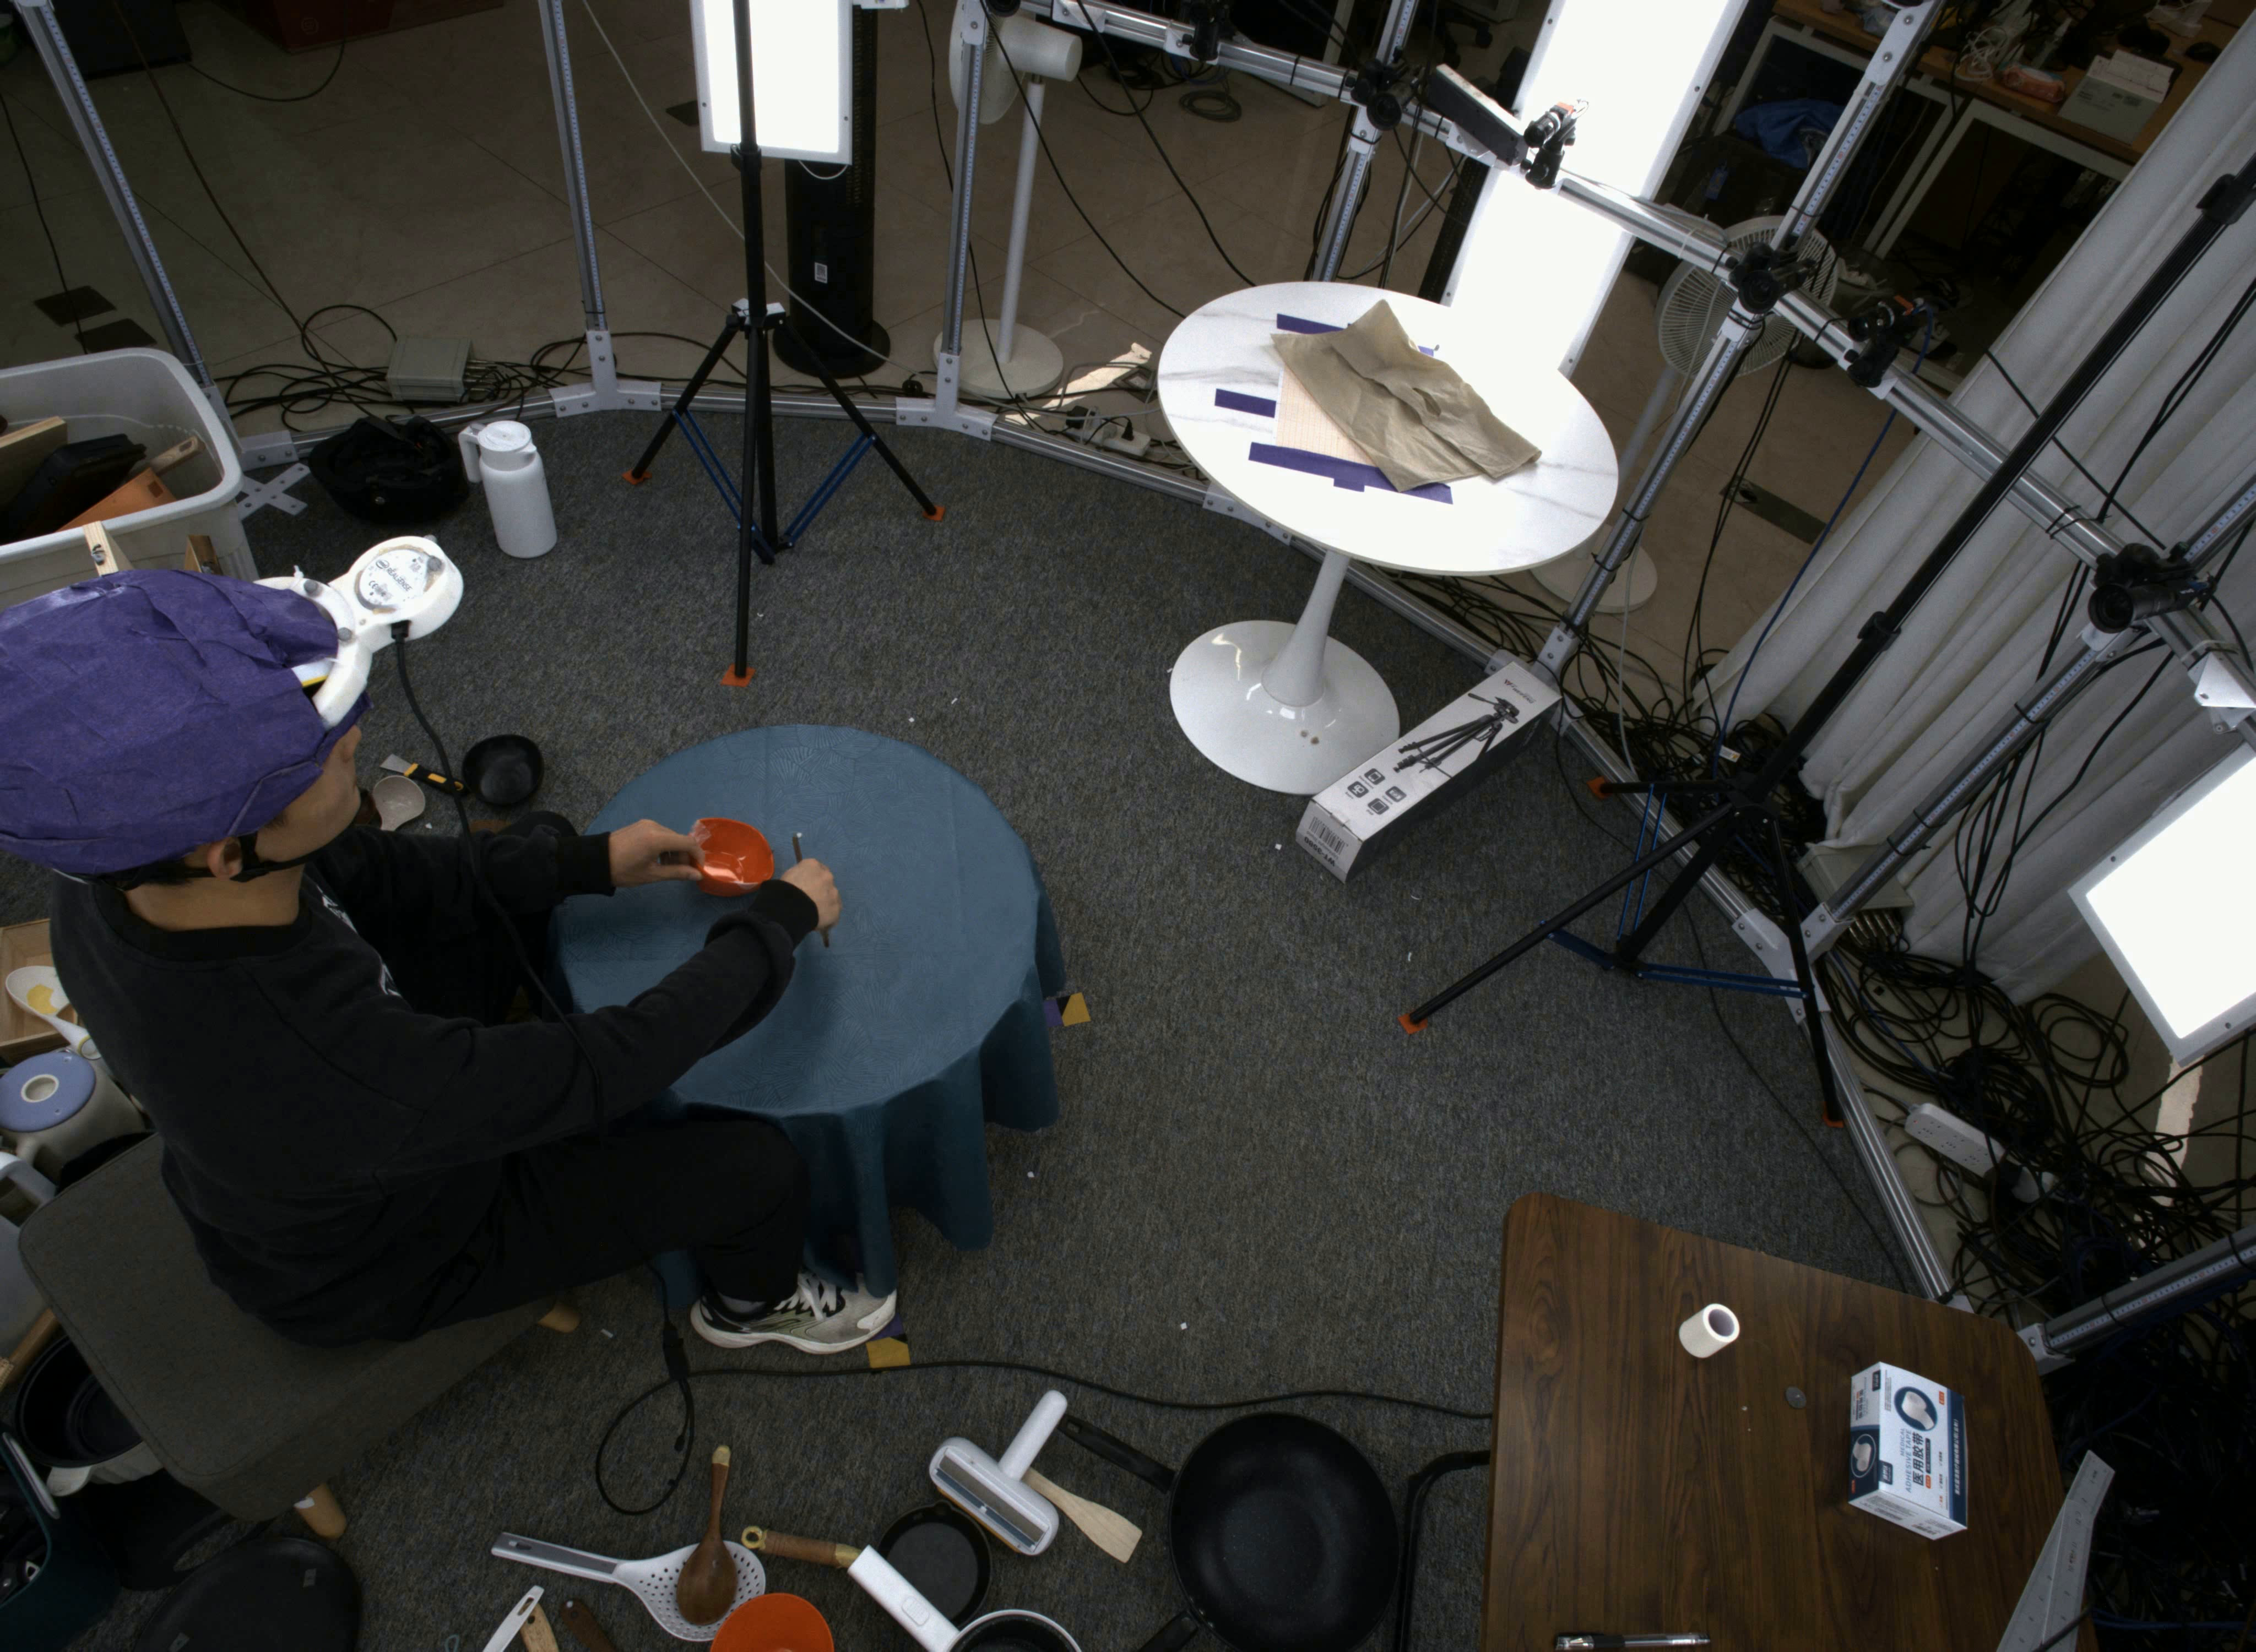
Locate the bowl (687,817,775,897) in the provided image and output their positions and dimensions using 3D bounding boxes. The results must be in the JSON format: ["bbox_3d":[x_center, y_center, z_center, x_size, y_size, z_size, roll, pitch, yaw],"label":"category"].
[{"bbox_3d":[-0.506,0.045,1.625,0.121,0.051,0.116,29,32,-18],"label":"bowl"}]

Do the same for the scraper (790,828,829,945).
[{"bbox_3d":[-0.388,0.078,1.581,0.011,0.078,0.204,-16,35,-16],"label":"scraper"}]
